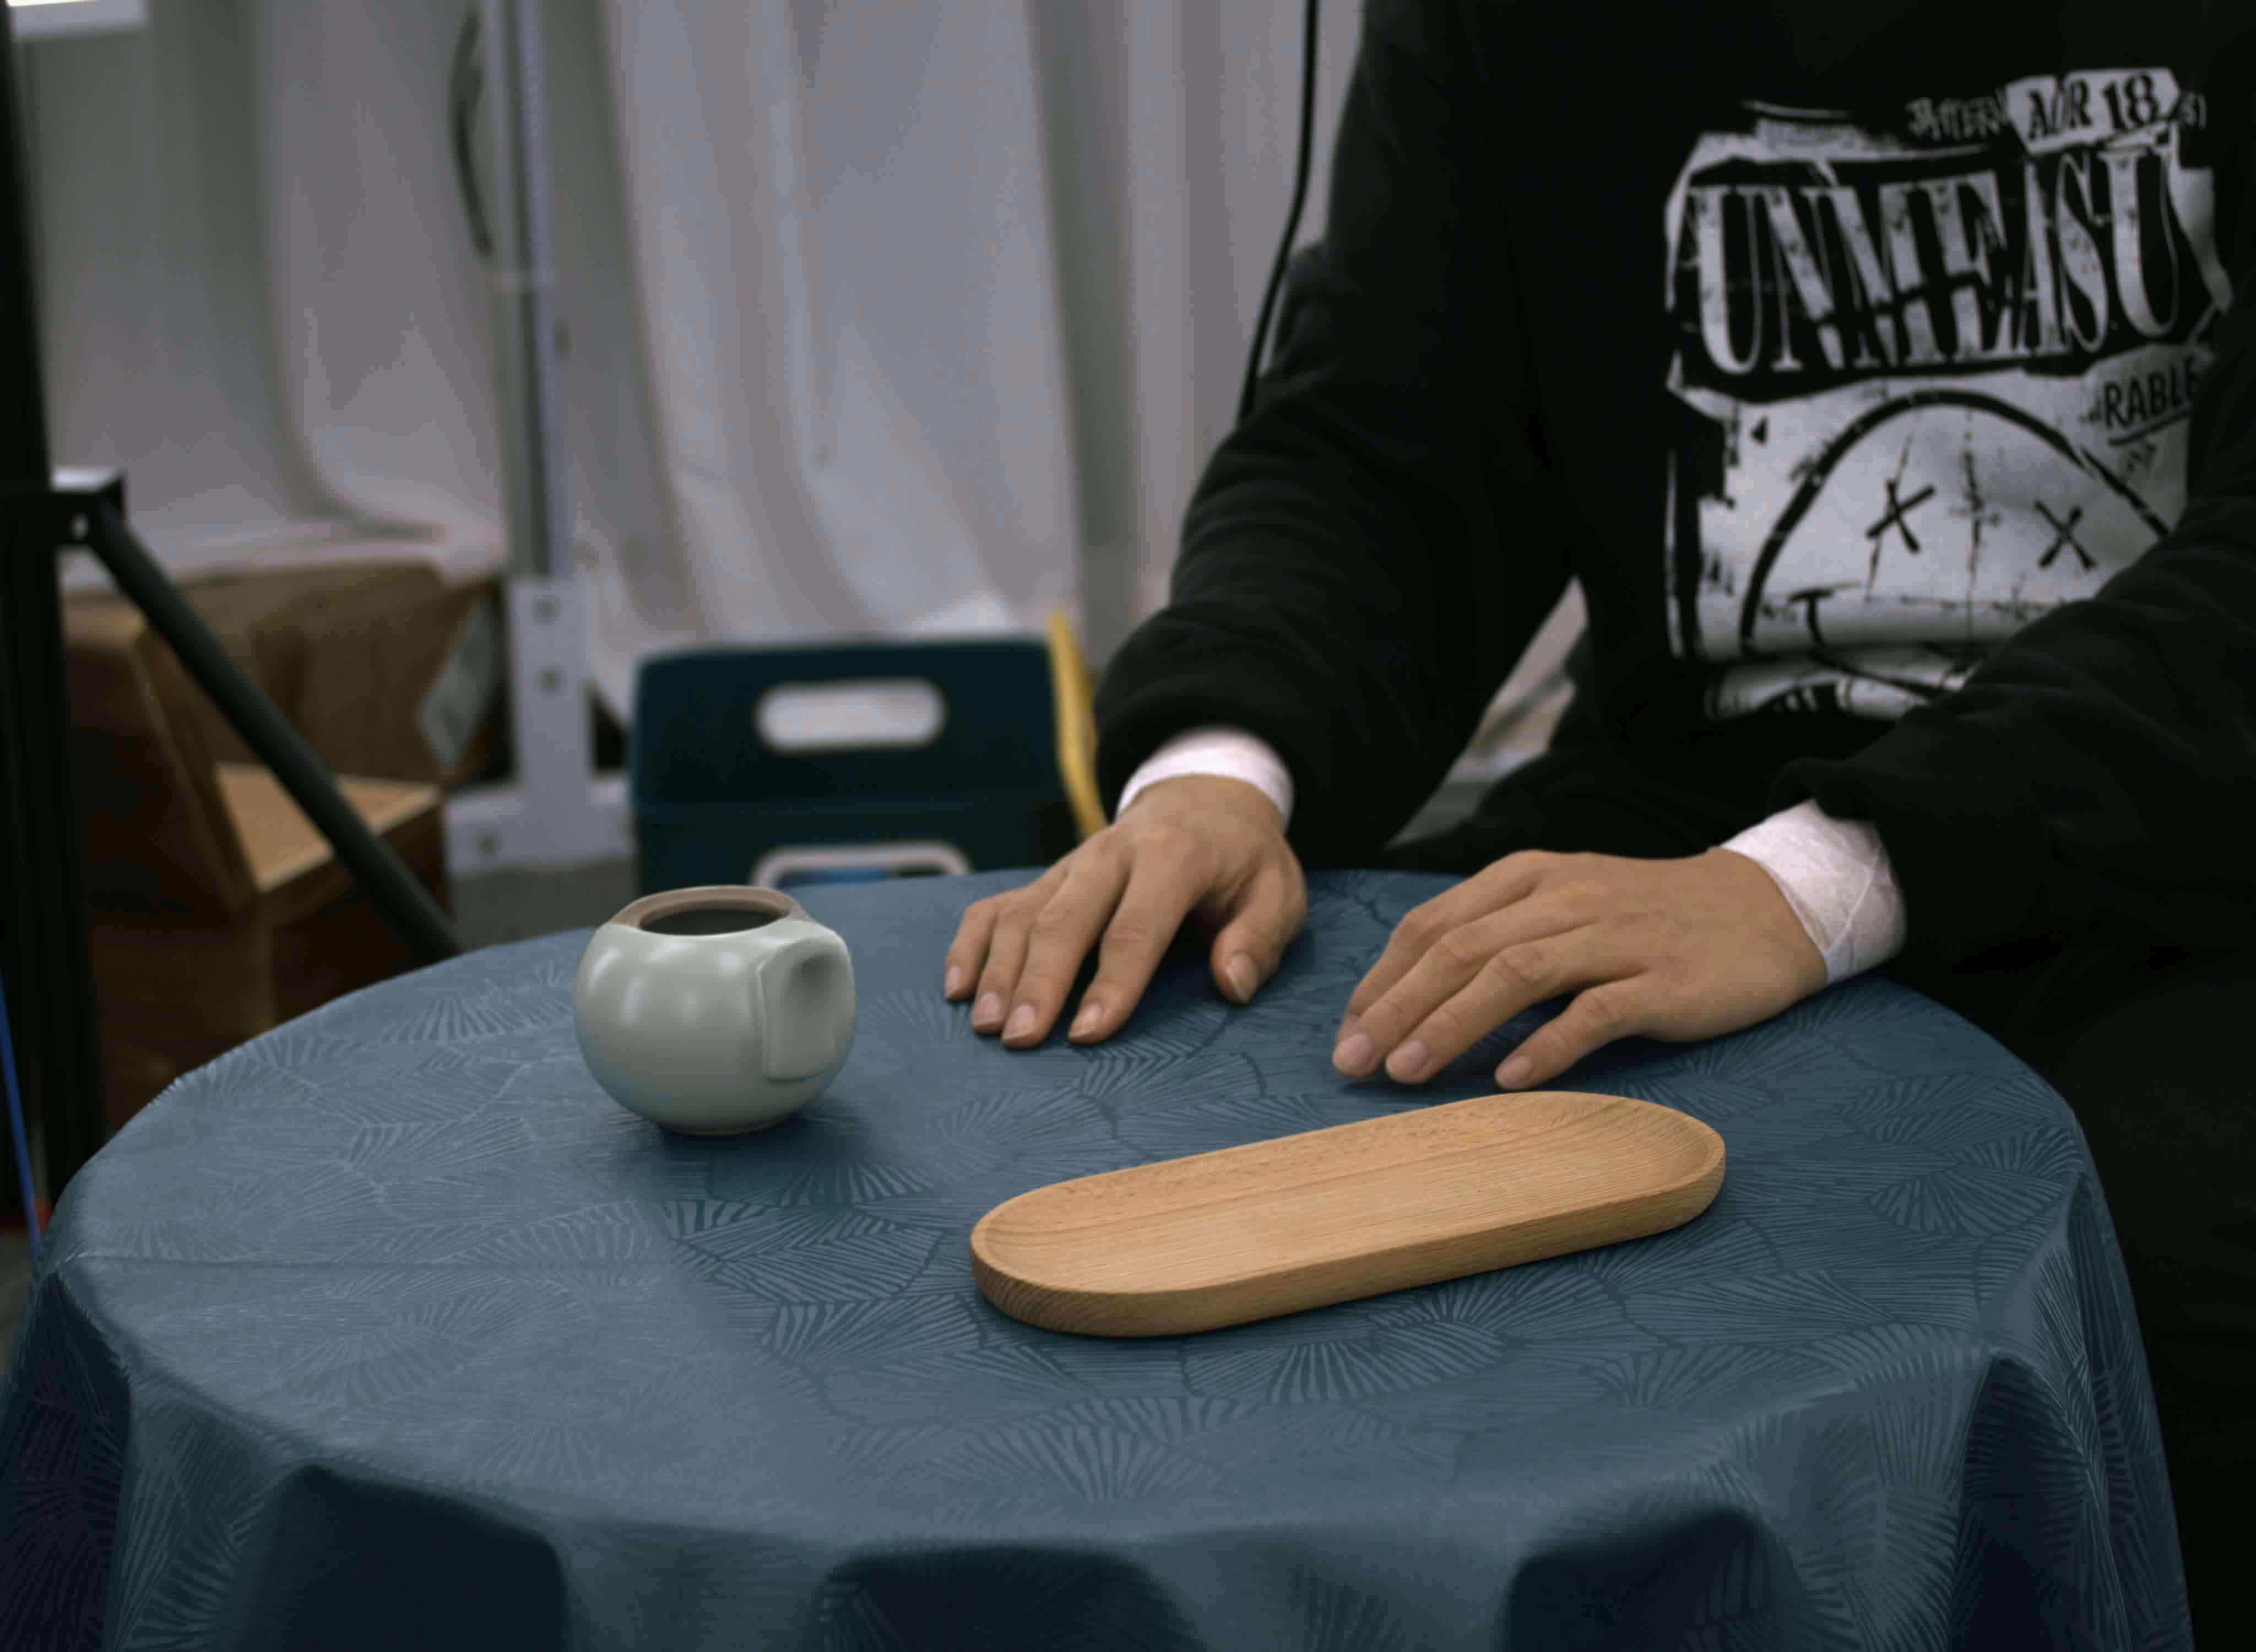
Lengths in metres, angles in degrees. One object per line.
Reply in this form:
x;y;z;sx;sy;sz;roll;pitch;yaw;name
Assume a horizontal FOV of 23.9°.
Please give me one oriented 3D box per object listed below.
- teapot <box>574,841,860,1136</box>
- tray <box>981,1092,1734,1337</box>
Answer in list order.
-0.126;0.054;1.634;0.086;0.075;0.147;-12;20;-32;teapot
0.068;0.110;1.508;0.226;0.020;0.104;-8;18;-25;tray
